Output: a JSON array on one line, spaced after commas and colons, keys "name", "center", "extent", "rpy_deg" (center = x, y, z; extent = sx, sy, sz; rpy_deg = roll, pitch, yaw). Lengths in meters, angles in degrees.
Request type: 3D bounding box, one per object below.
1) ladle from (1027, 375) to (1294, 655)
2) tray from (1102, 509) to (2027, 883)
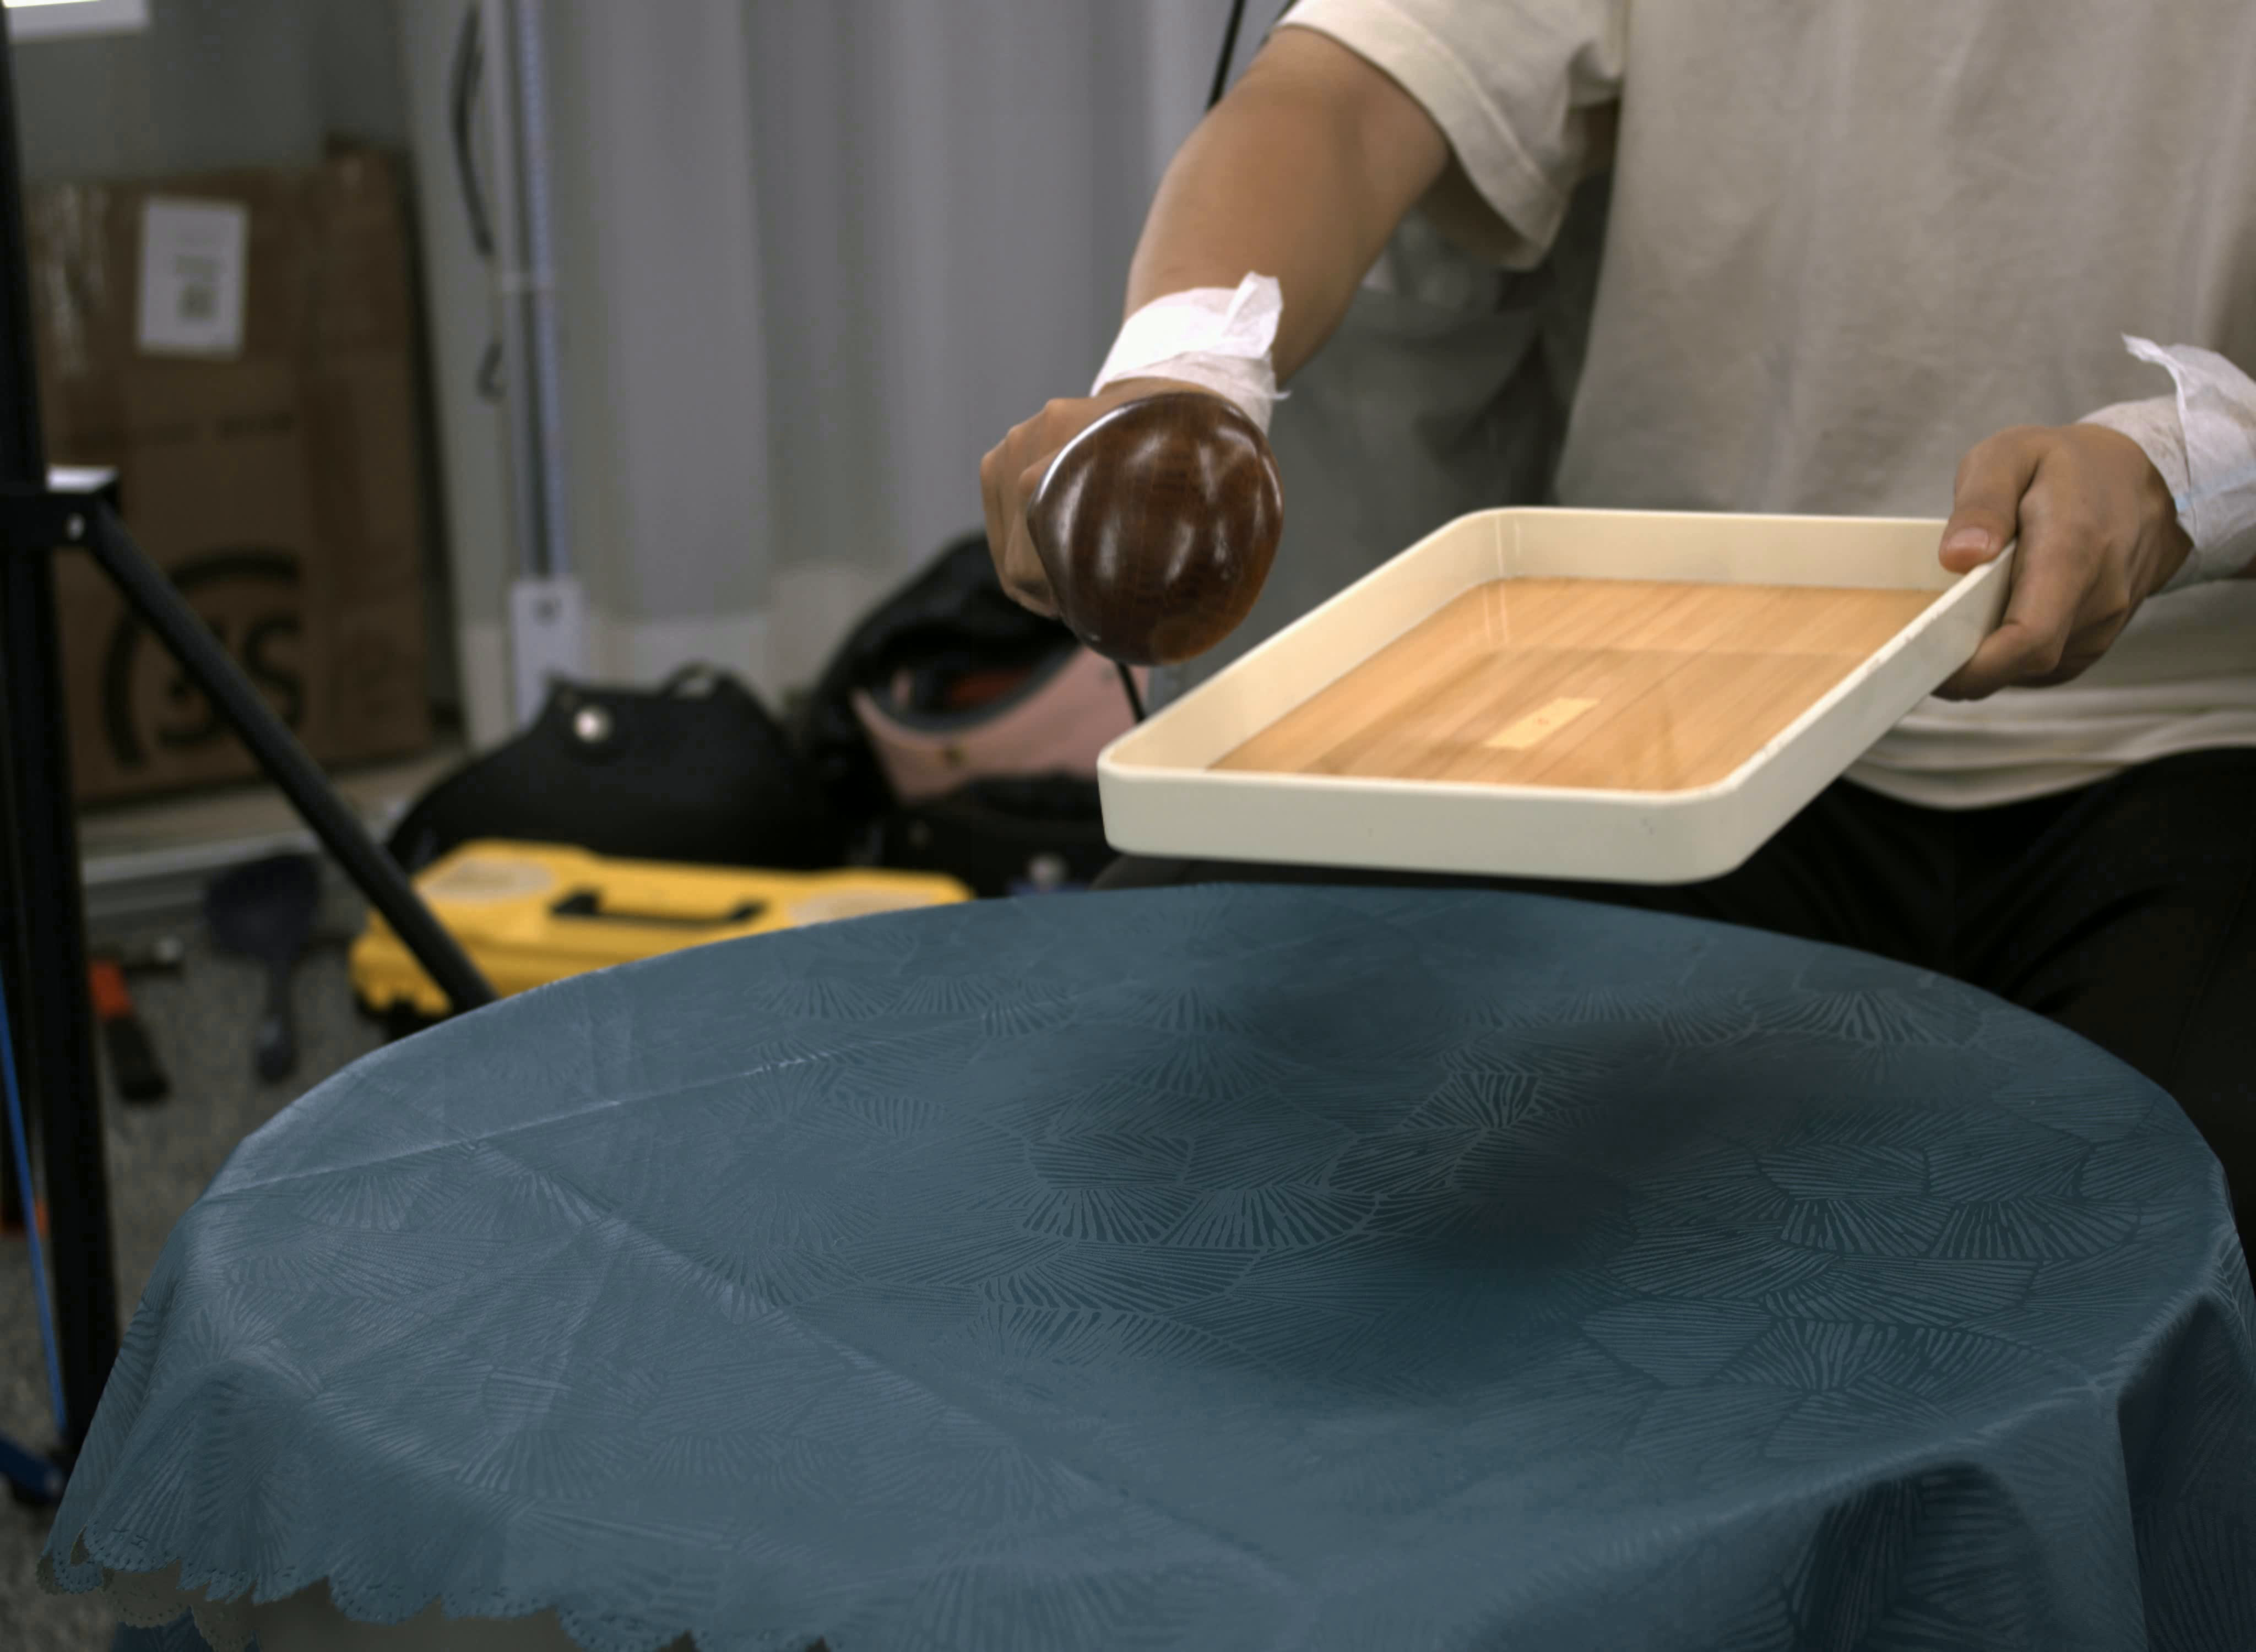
[{"name": "ladle", "center": [0.009, -0.086, 1.617], "extent": [0.076, 0.082, 0.273], "rpy_deg": [26, -2, 1]}, {"name": "tray", "center": [0.135, -0.042, 1.557], "extent": [0.194, 0.027, 0.296], "rpy_deg": [3, 18, 27]}]
